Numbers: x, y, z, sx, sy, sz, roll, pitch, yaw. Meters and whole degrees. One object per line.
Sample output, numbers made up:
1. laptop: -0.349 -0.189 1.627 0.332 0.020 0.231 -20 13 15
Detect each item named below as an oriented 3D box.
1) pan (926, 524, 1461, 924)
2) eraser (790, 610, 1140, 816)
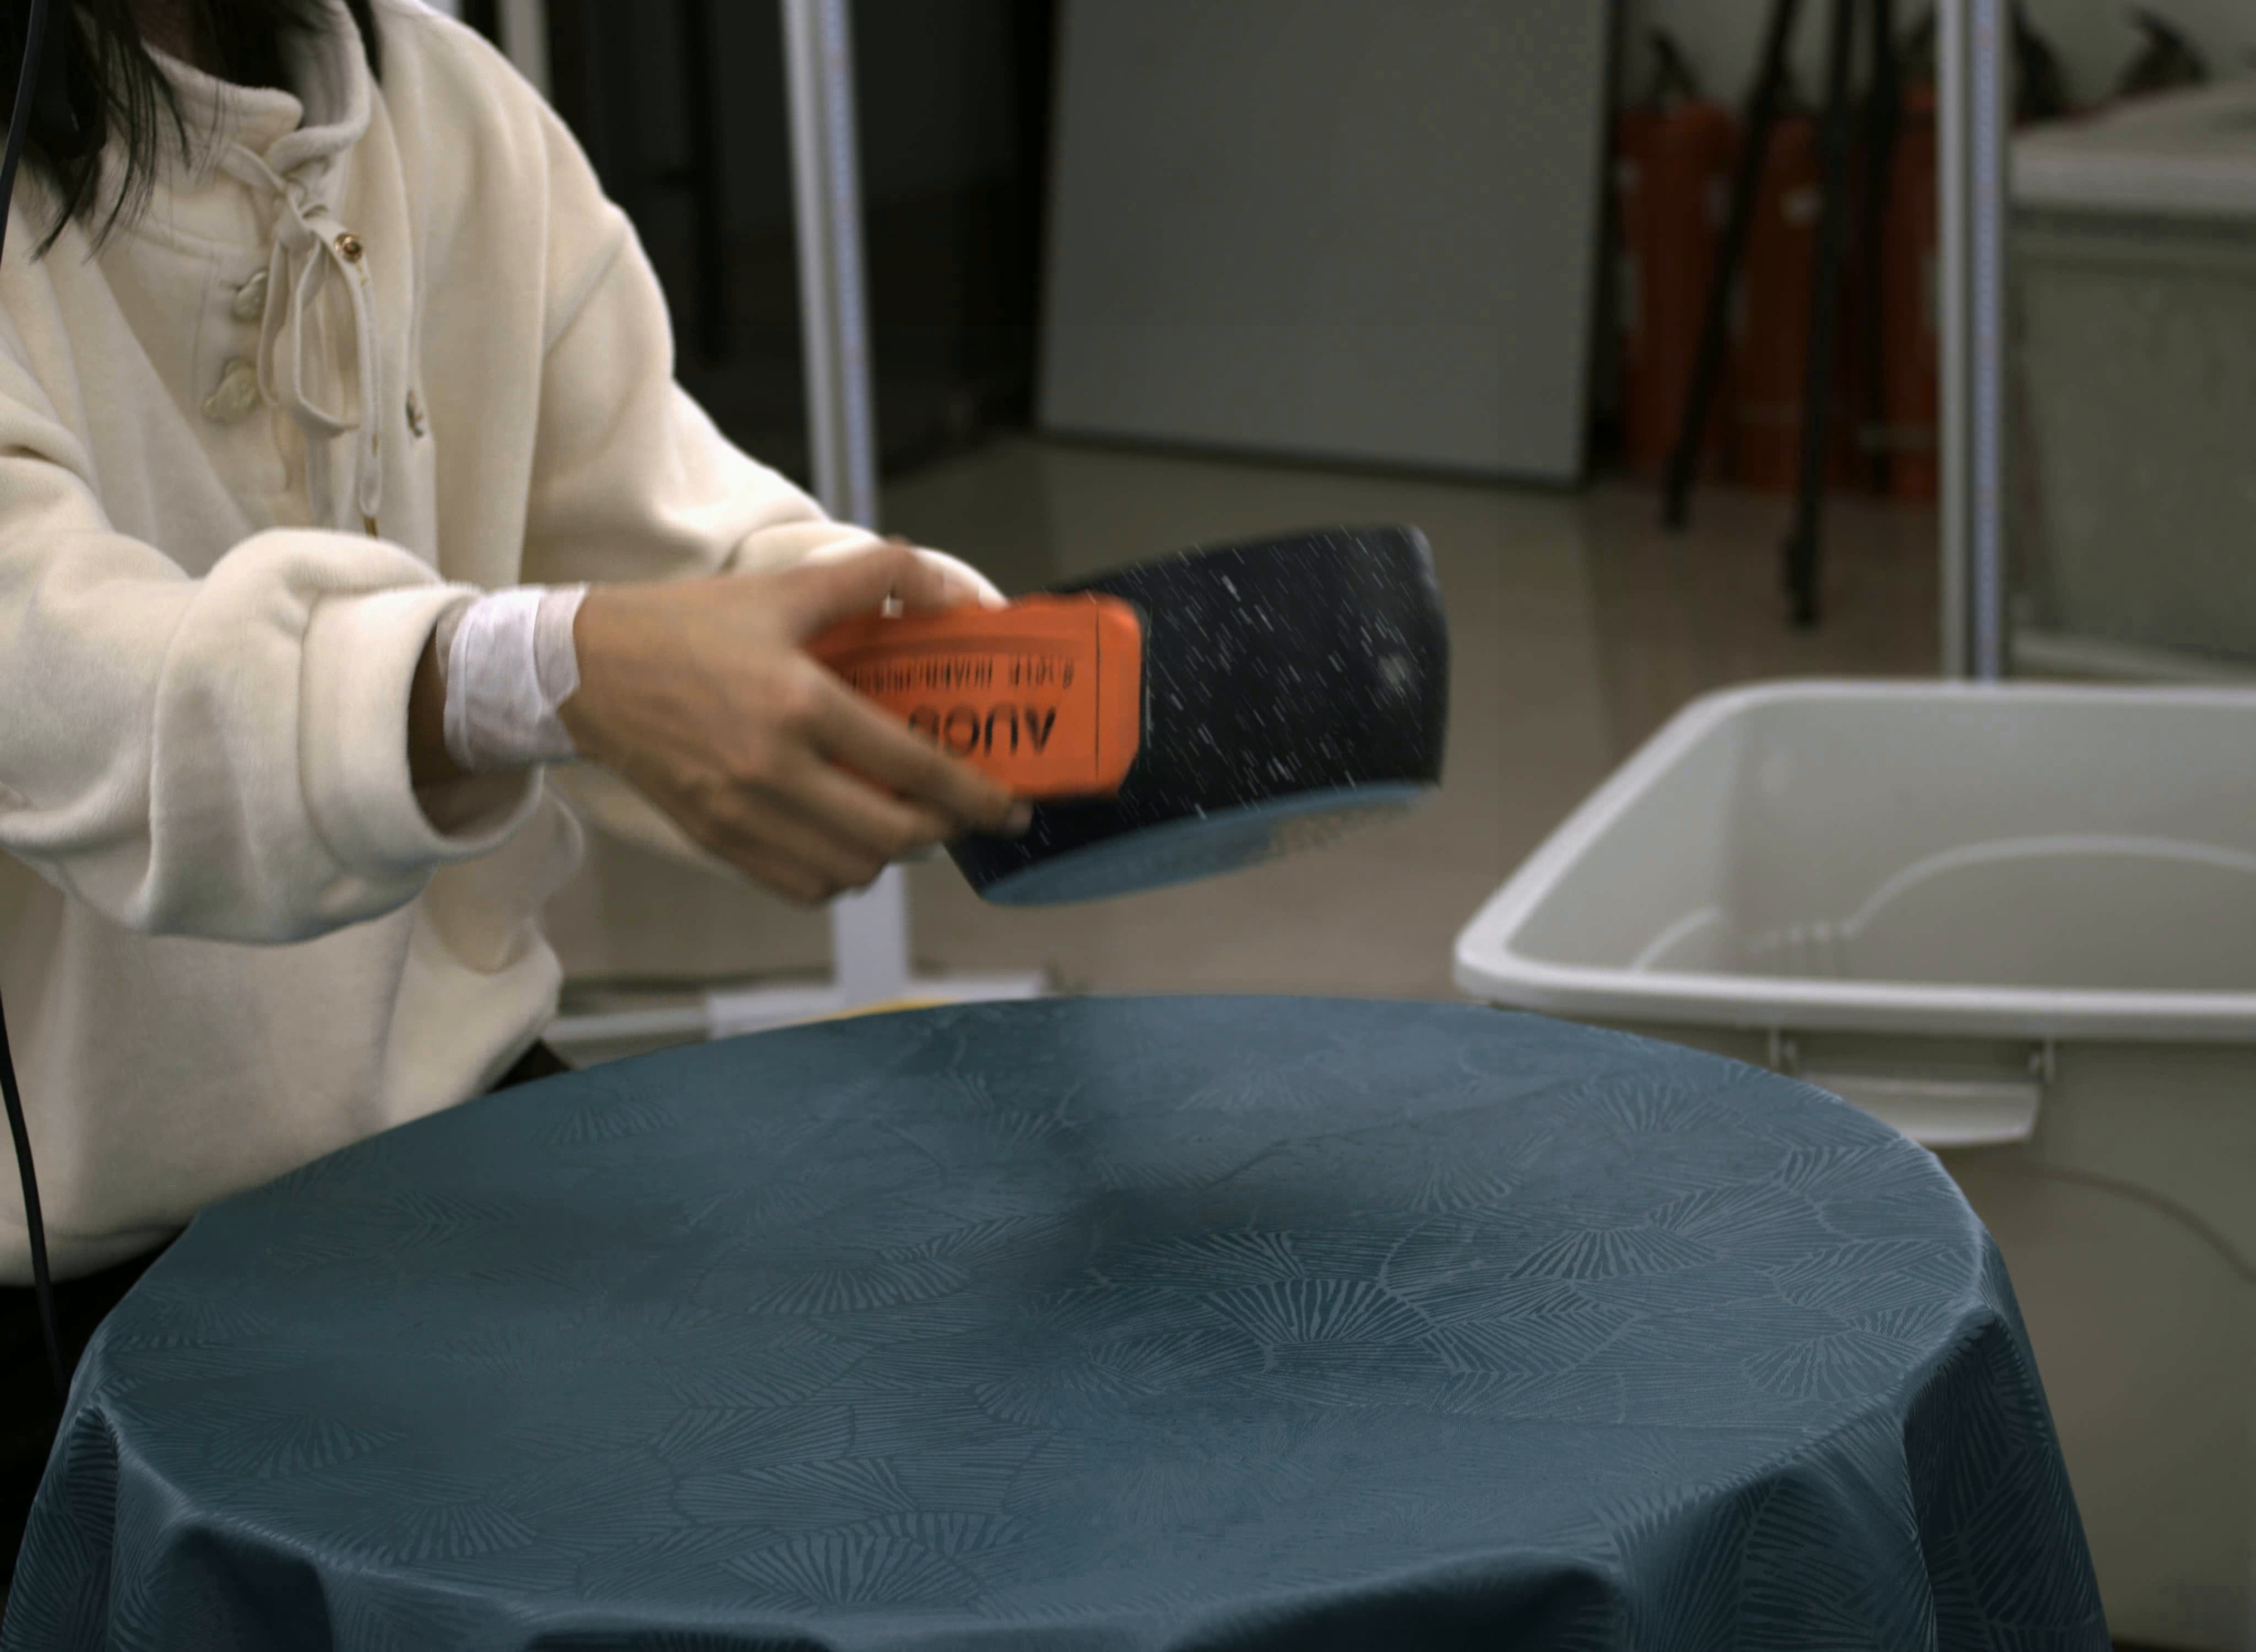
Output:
1. pan: -0.014 -0.023 1.800 0.203 0.109 0.346 -11 -6 -26
2. eraser: -0.048 -0.033 1.586 0.108 0.060 0.022 -1 -5 28
